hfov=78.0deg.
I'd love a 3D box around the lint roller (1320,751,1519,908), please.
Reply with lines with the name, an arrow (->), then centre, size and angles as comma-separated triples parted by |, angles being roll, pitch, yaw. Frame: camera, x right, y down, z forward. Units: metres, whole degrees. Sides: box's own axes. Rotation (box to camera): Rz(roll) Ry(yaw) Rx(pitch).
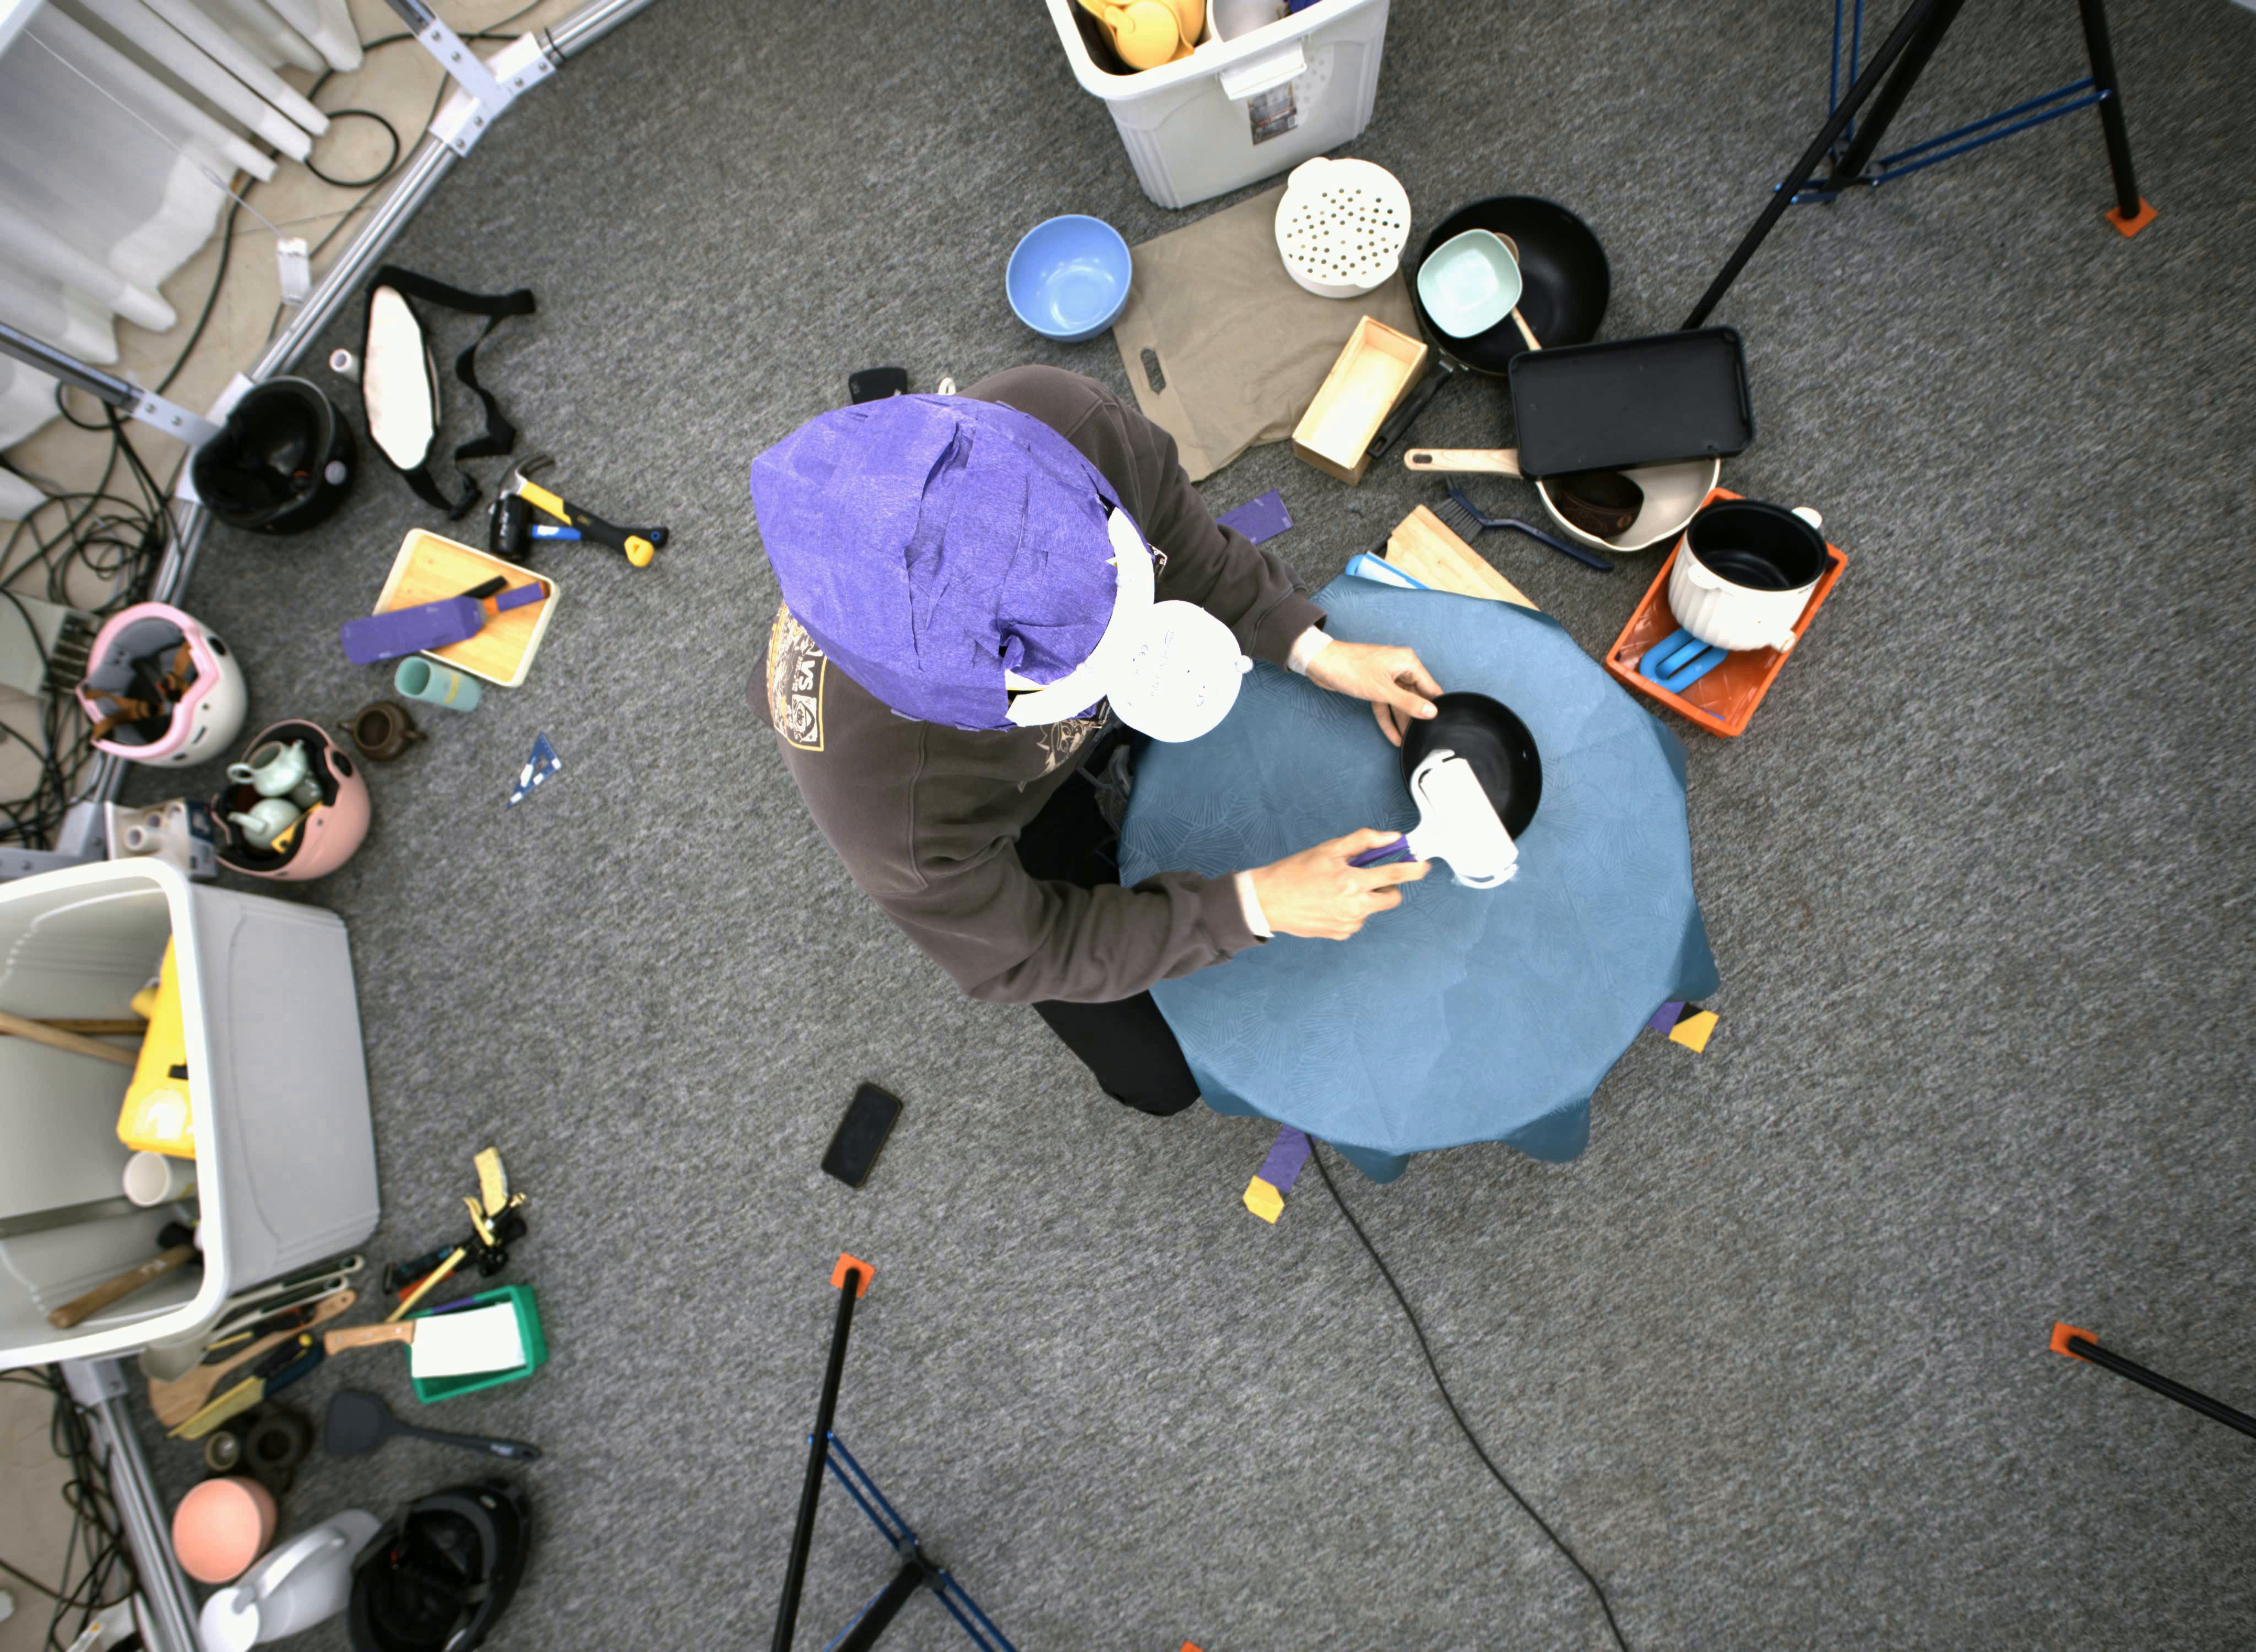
lint roller -> 0.257, 0.022, 1.266 | 0.181, 0.050, 0.133 | -28, 93, 0

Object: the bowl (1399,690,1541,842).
bowl -> 0.352, -0.058, 1.417 | 0.138, 0.066, 0.169 | -23, 85, 9
